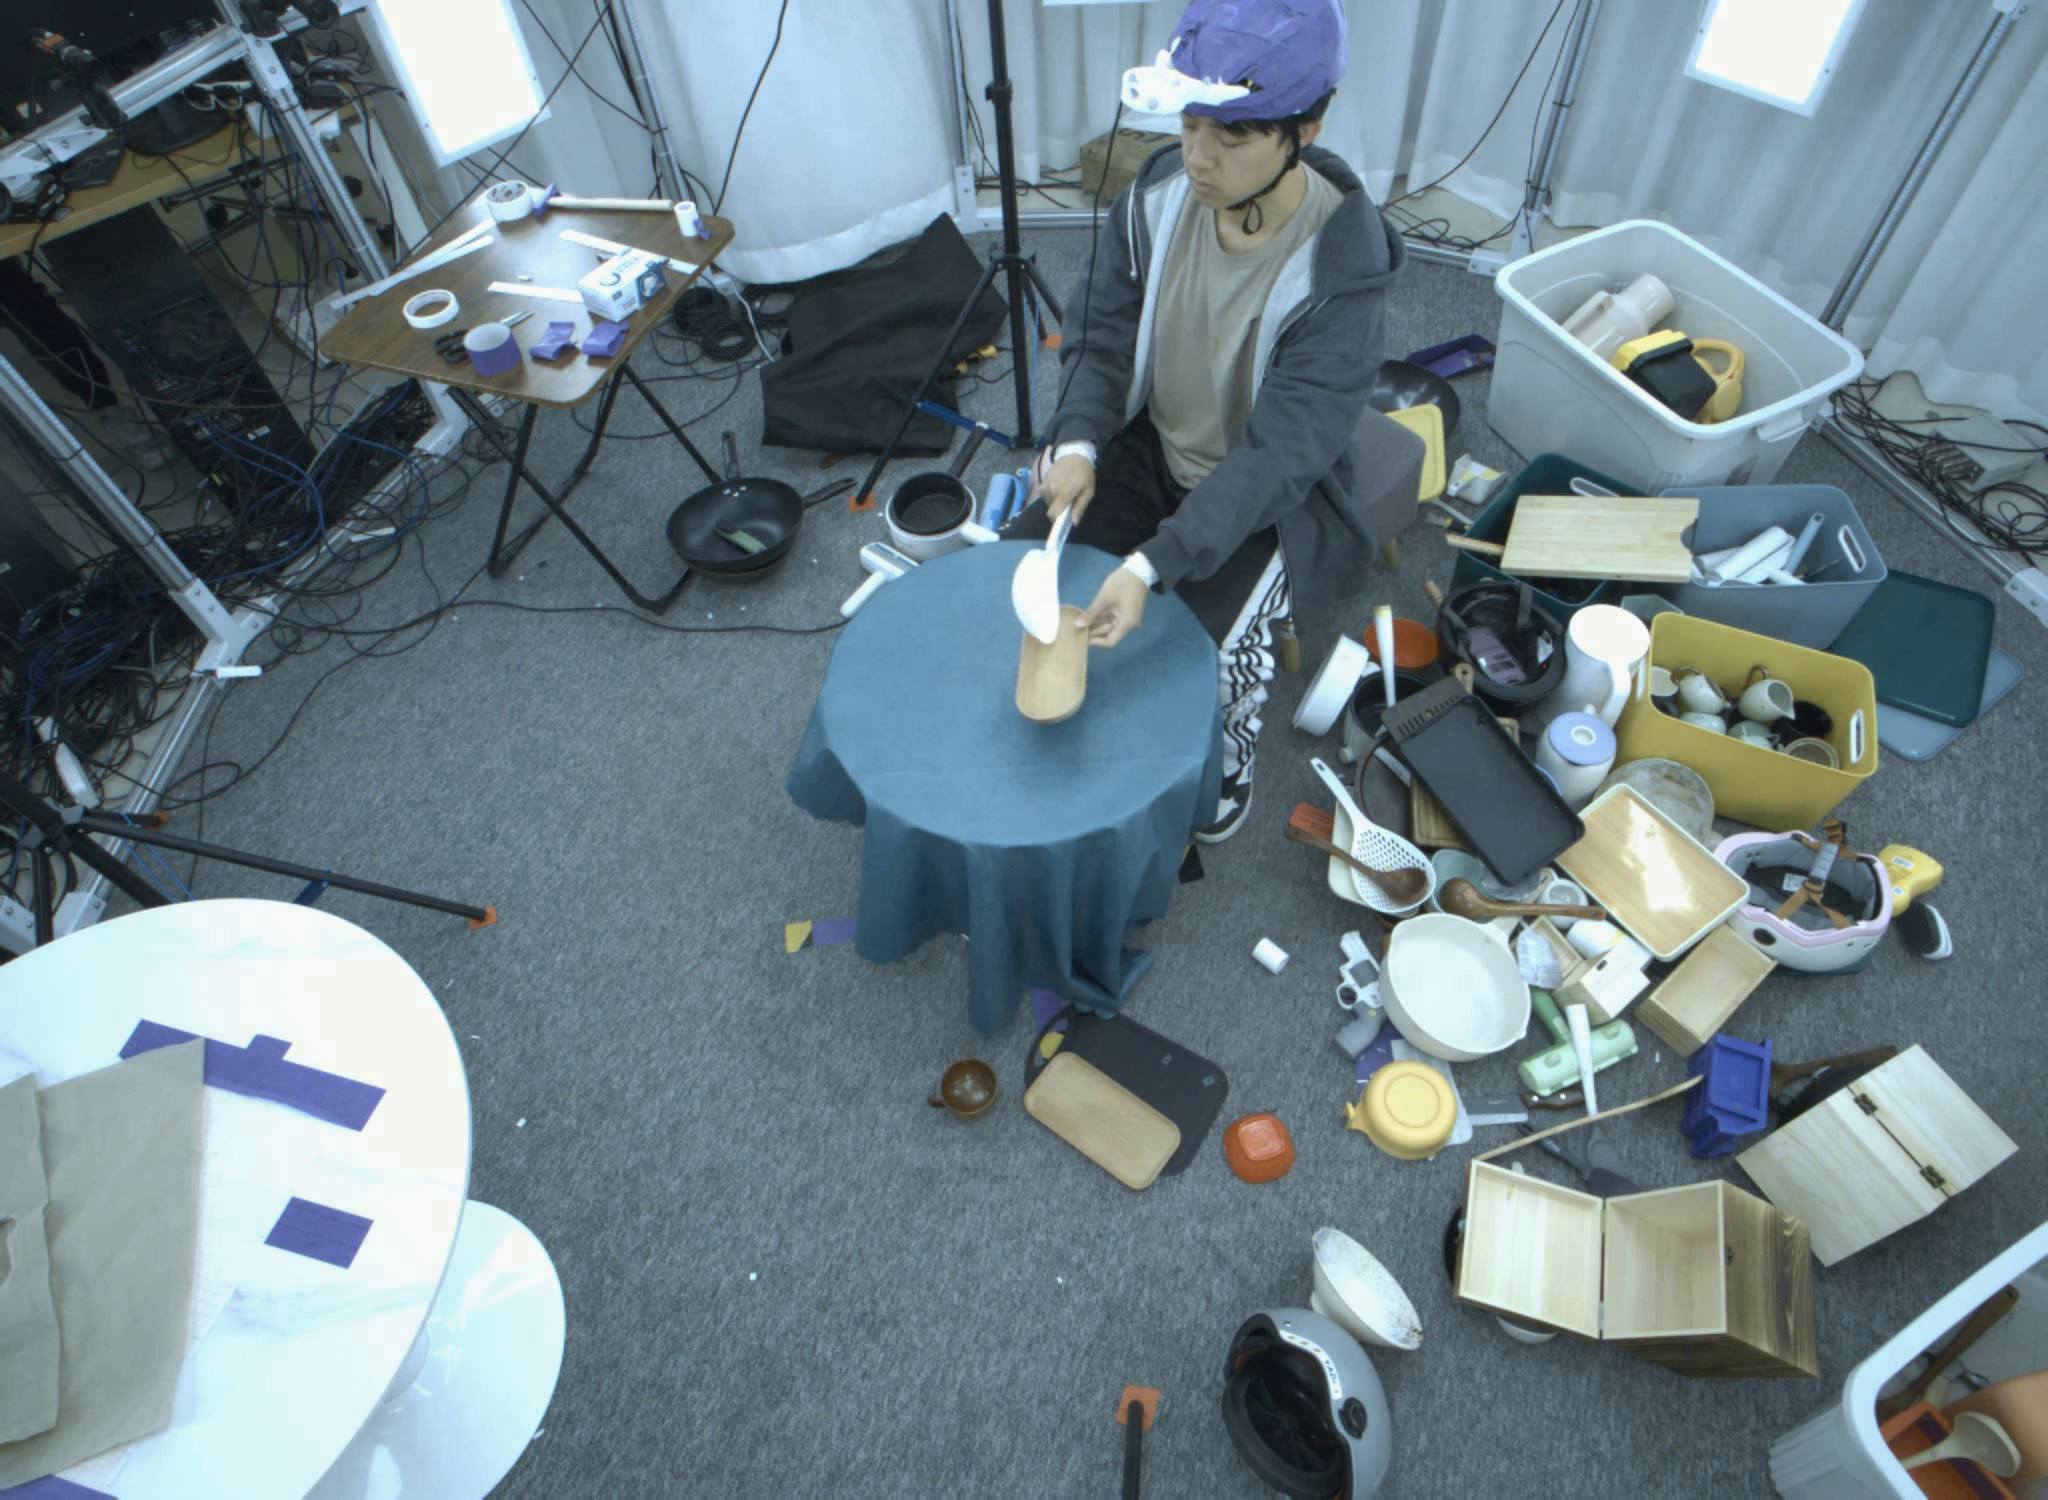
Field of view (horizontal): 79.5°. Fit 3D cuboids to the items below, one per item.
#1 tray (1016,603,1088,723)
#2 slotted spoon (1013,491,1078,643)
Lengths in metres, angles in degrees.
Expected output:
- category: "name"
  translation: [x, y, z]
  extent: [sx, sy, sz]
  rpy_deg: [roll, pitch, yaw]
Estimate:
- category: "tray"
  translation: [0.042, -0.128, 1.782]
  extent: [0.101, 0.020, 0.229]
  rpy_deg: [-7, 48, 12]
- category: "slotted spoon"
  translation: [0.041, -0.293, 1.852]
  extent: [0.045, 0.138, 0.349]
  rpy_deg: [-2, 42, 24]
